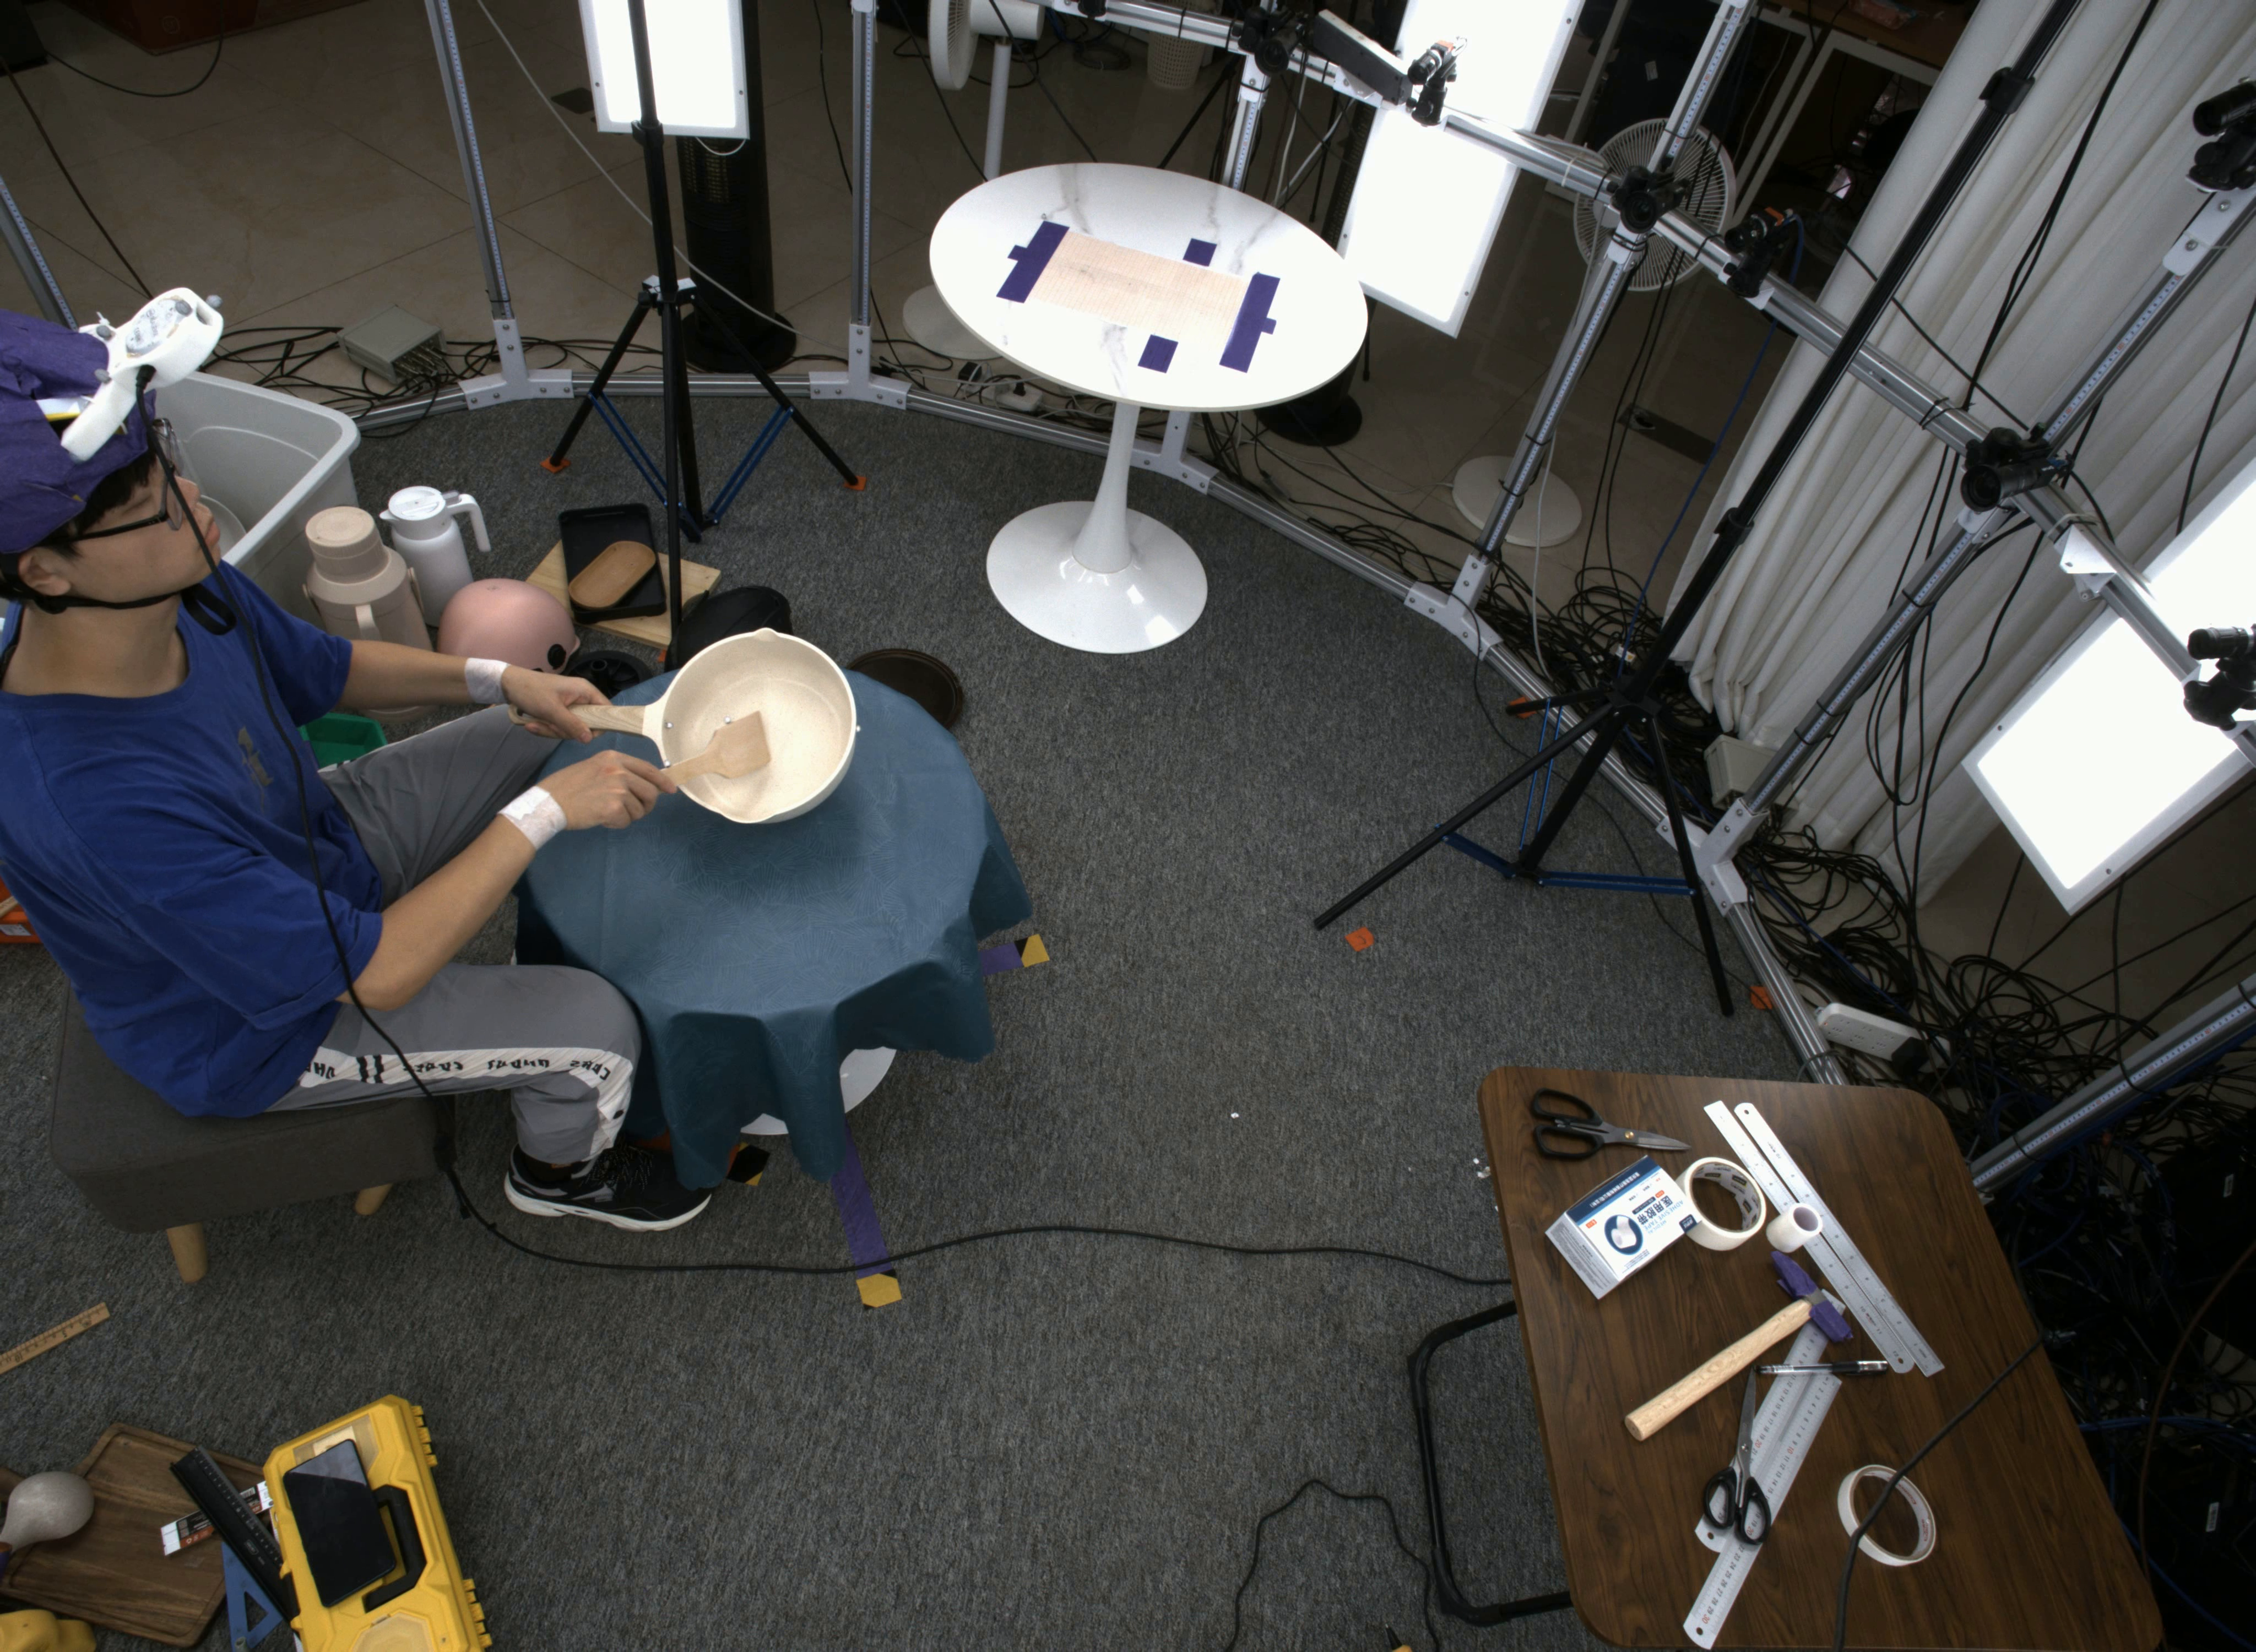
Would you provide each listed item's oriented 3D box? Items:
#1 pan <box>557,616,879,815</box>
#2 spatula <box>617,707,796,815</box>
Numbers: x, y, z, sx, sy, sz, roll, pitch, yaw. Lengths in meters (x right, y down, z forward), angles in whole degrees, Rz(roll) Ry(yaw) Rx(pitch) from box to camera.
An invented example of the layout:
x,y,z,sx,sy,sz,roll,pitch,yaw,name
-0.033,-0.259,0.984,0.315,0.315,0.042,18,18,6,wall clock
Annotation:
x,y,z,sx,sy,sz,roll,pitch,yaw,name
-0.533,-0.136,1.671,0.431,0.103,0.263,1,77,-3,pan
-0.508,-0.075,1.568,0.010,0.074,0.294,6,22,29,spatula
